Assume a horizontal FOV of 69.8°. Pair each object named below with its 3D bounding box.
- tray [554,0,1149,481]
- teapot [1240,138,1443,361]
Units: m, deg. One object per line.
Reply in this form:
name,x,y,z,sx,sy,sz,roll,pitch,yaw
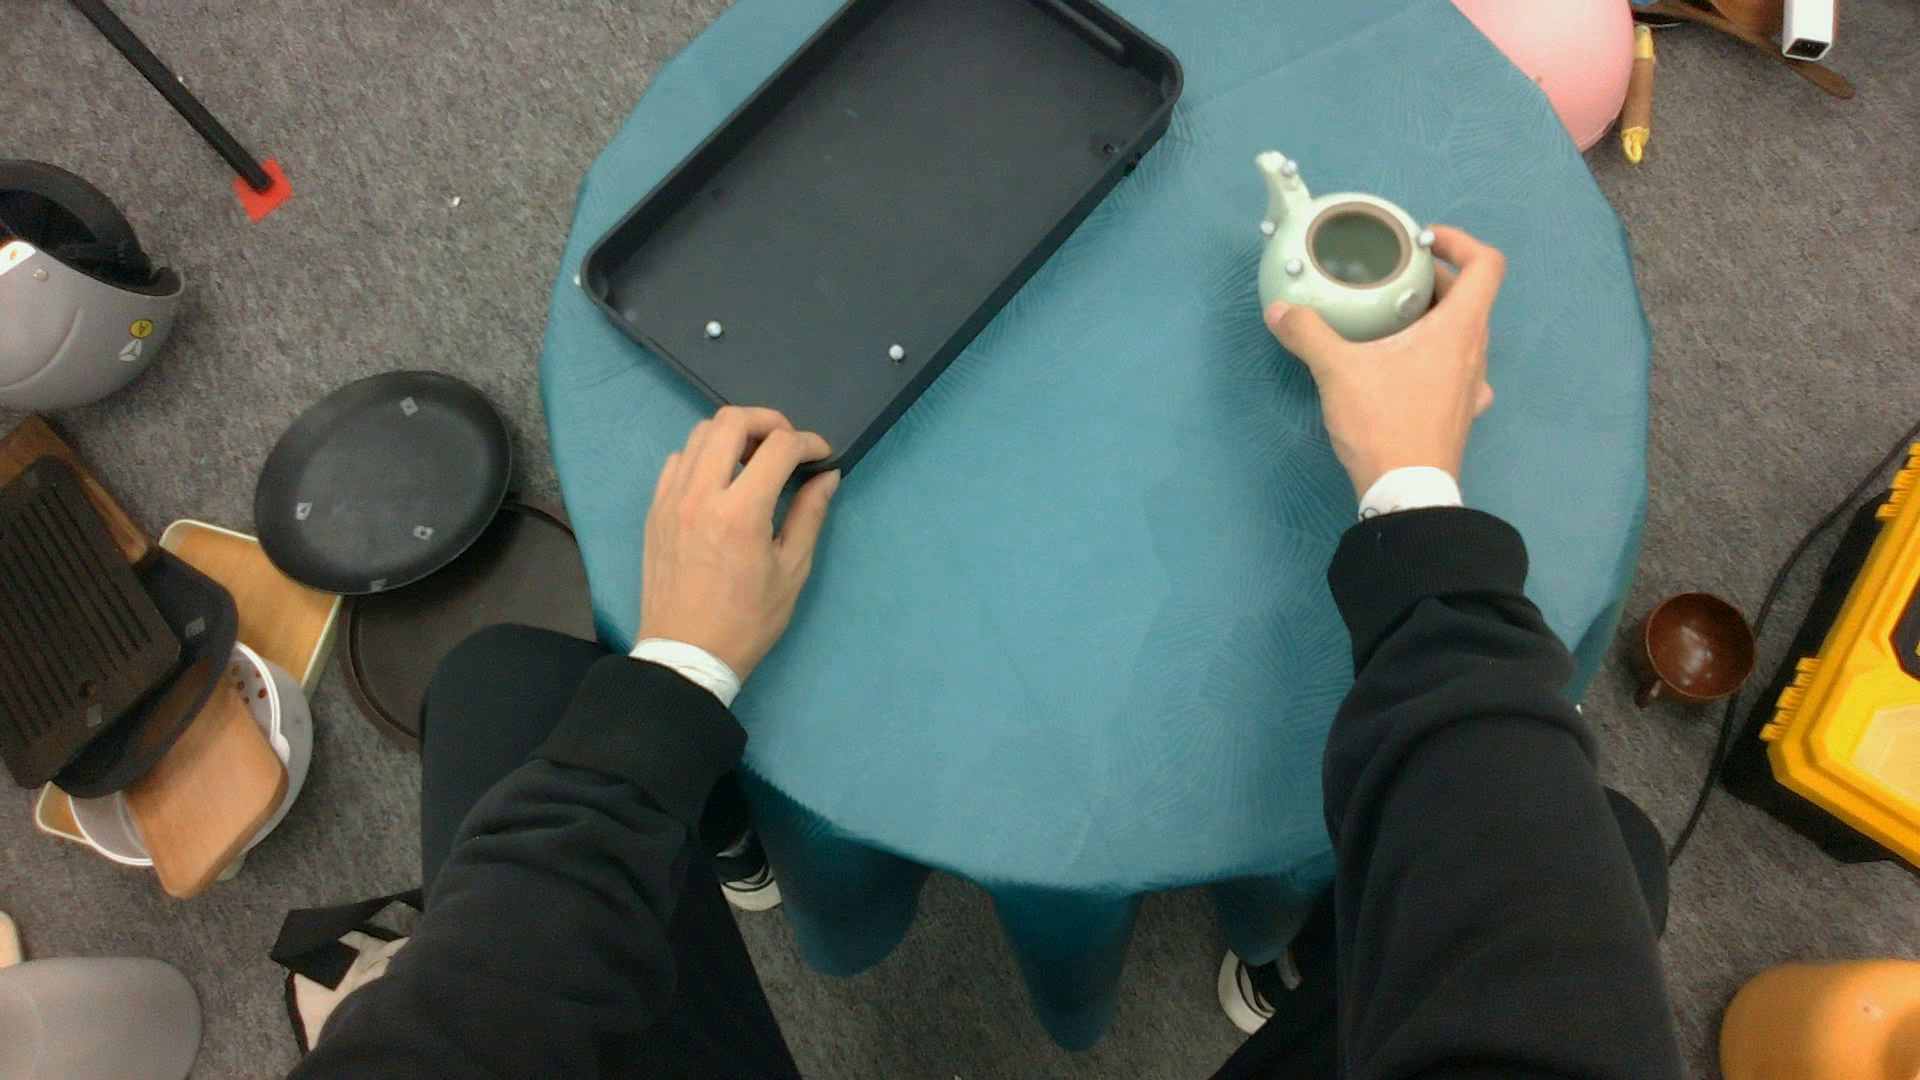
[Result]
tray,-0.055,-0.197,0.763,0.184,0.037,0.319,37,76,11
teapot,0.192,-0.144,0.723,0.088,0.074,0.144,-34,71,-13
